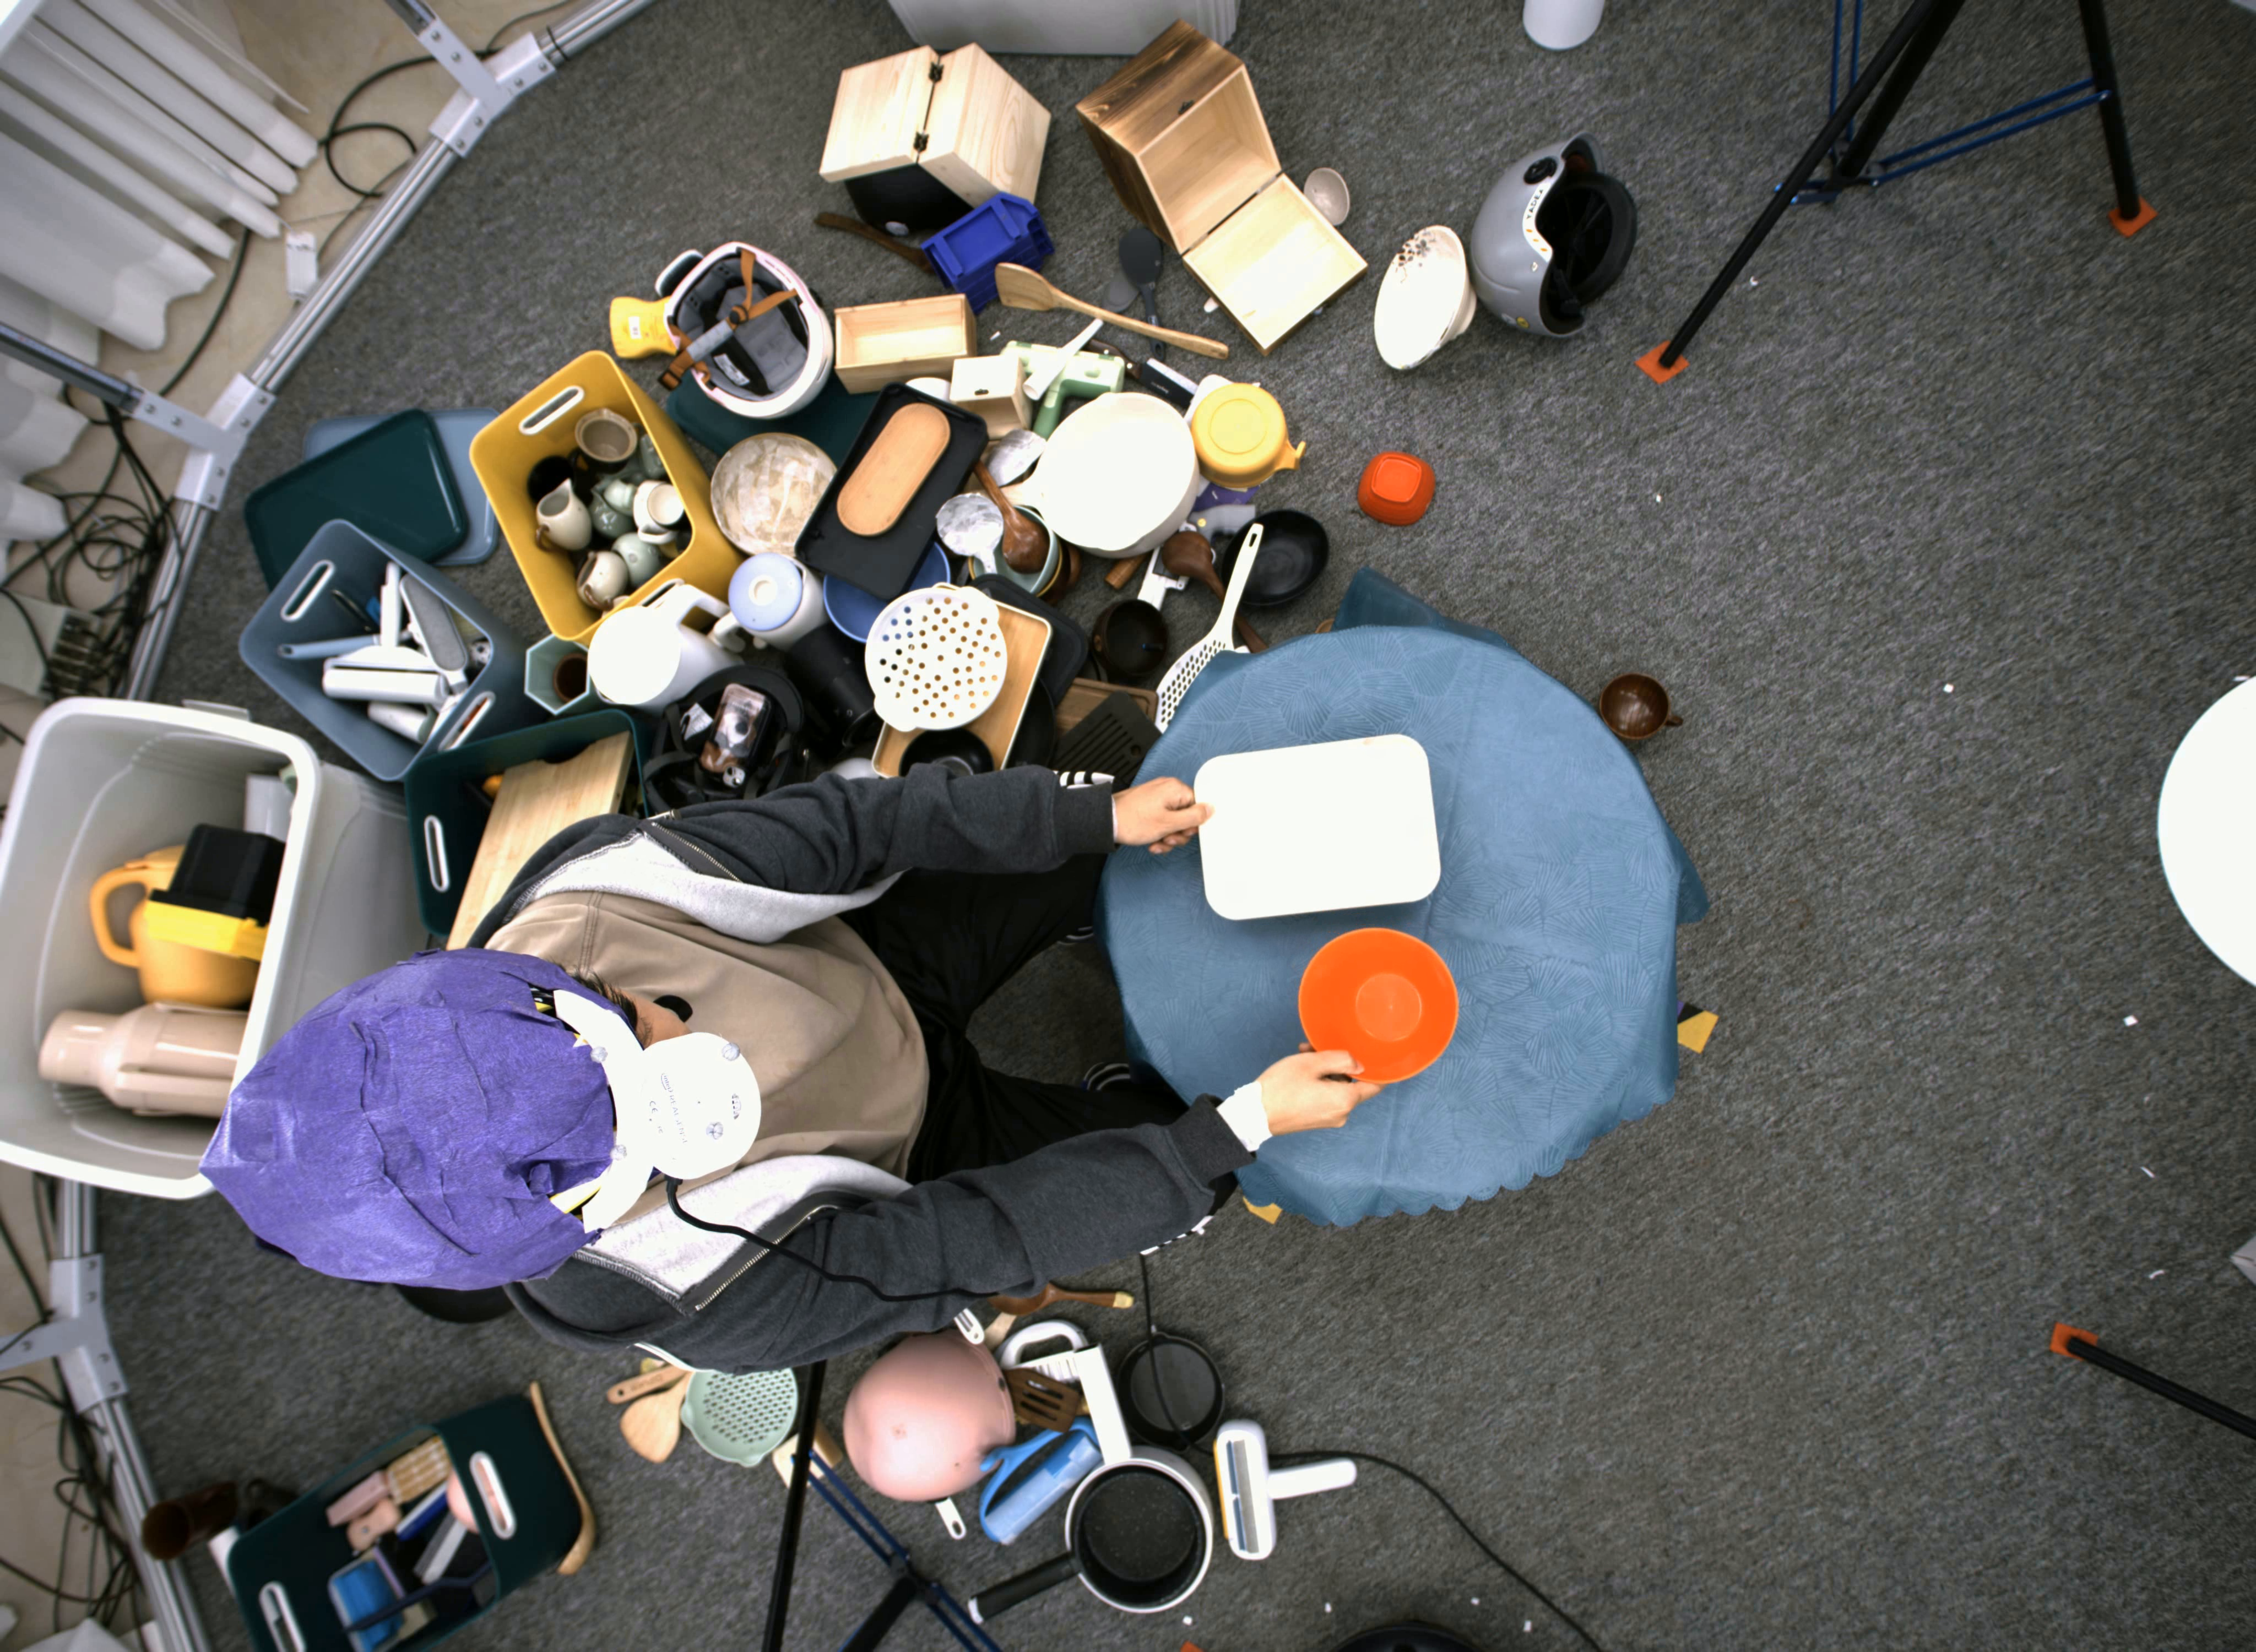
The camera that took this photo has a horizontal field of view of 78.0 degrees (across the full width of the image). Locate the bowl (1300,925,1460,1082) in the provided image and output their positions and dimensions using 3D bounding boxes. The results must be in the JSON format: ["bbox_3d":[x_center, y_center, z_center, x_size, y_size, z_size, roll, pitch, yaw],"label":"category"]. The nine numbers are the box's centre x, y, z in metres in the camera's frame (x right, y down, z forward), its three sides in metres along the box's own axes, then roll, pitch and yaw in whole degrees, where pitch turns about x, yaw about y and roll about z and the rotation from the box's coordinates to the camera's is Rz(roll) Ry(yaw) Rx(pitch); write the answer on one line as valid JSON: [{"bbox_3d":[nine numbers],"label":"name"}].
[{"bbox_3d":[0.245,0.165,1.325,0.149,0.104,0.148,0,90,16],"label":"bowl"}]

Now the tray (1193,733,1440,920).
[{"bbox_3d":[0.190,0.001,1.407,0.241,0.017,0.171,-7,89,11],"label":"tray"}]
